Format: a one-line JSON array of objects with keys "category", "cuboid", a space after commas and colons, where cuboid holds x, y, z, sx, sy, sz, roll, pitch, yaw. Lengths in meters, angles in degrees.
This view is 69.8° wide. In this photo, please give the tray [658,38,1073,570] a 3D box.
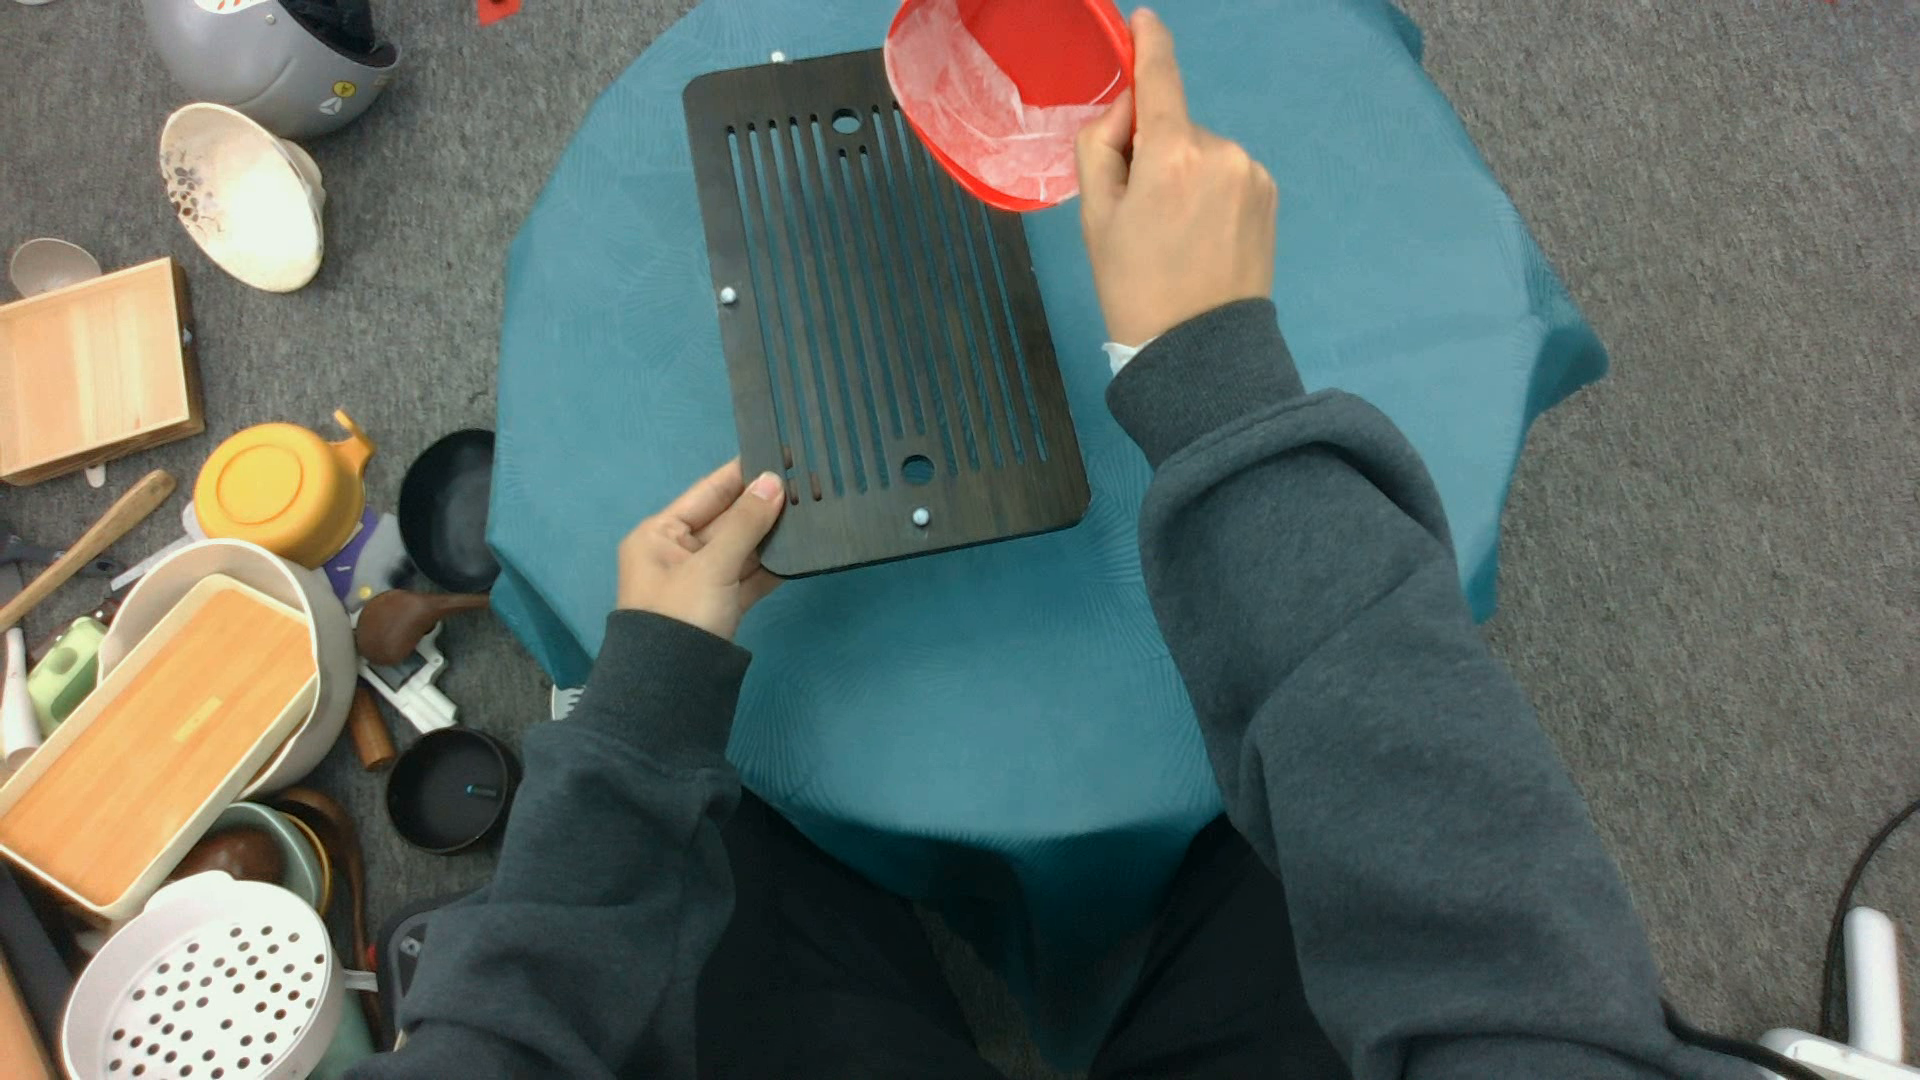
[{"category": "tray", "cuboid": [-0.056, -0.137, 0.731, 0.170, 0.018, 0.306, -11, 70, -6]}]

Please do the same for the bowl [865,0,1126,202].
[{"category": "bowl", "cuboid": [0.023, -0.212, 0.601, 0.119, 0.118, 0.051, 24, 47, 11]}]
